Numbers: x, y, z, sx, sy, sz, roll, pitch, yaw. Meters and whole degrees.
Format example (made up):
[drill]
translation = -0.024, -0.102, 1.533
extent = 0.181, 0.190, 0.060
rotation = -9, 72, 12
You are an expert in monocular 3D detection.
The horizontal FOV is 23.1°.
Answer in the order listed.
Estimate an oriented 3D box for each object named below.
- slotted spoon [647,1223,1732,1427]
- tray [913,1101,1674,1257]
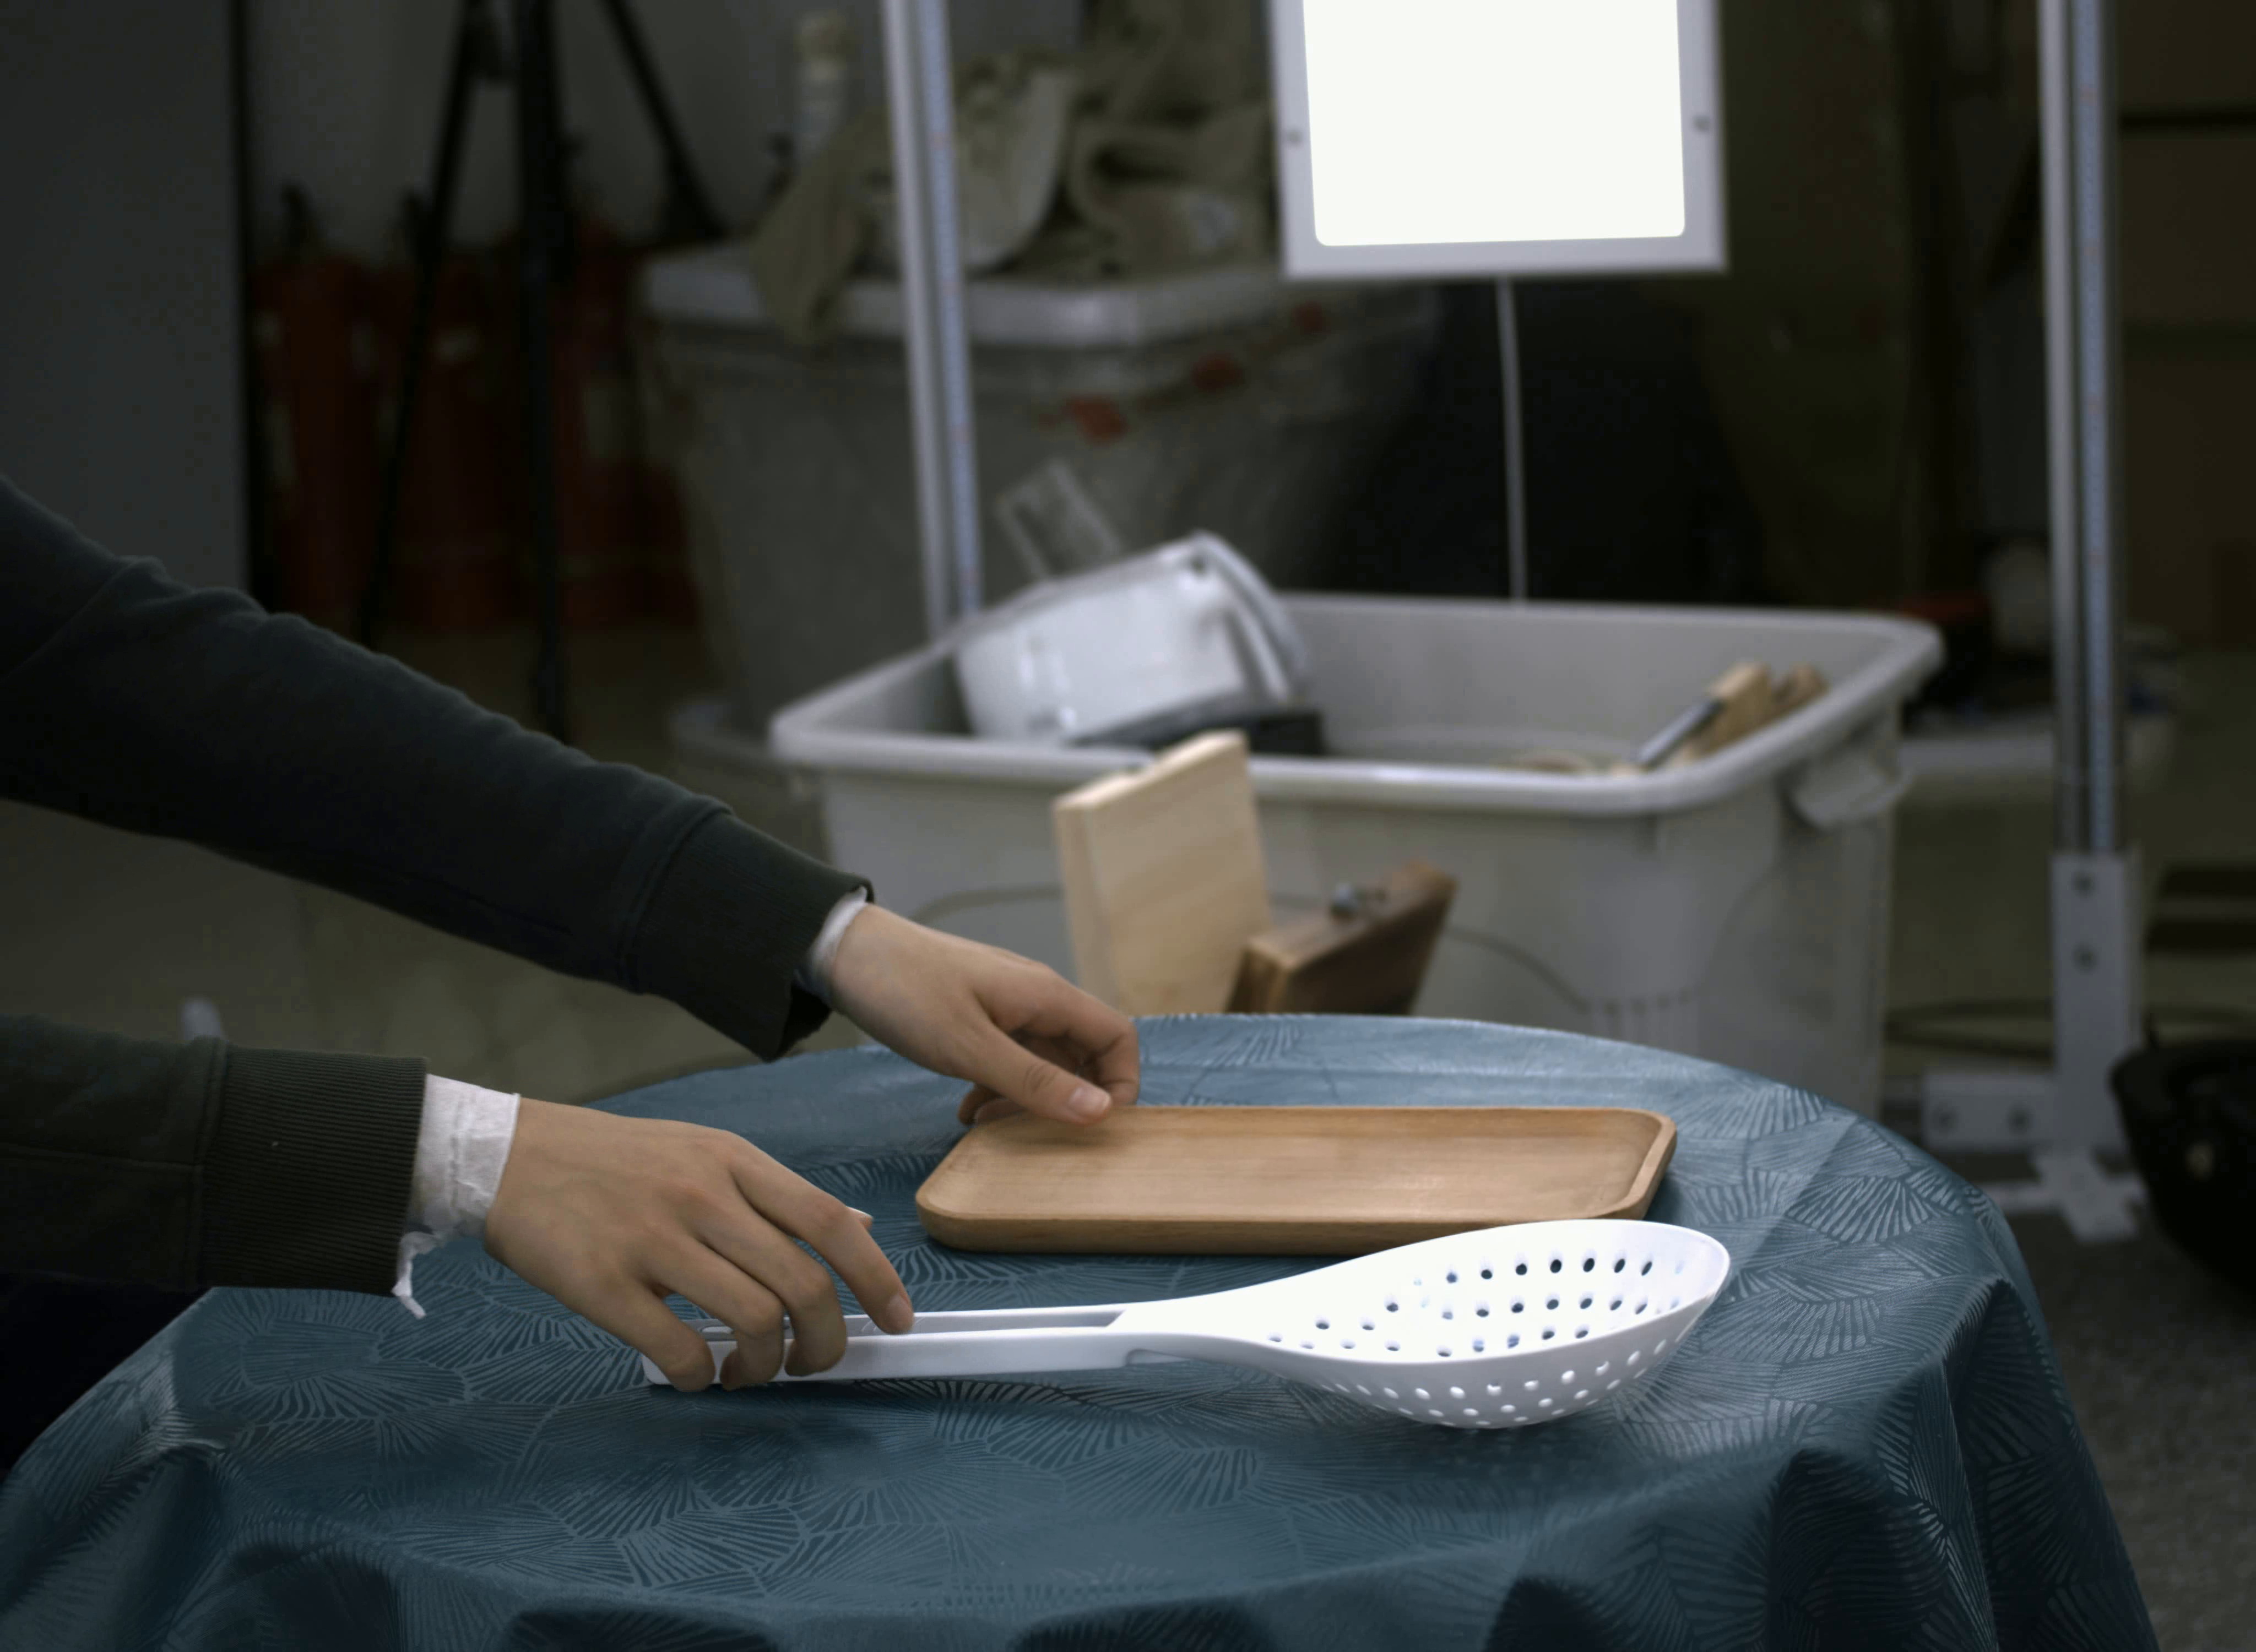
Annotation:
[slotted spoon]
translation = 0.014, 0.154, 1.685
extent = 0.354, 0.046, 0.133
rotation = 0, 12, 22
[tray]
translation = 0.057, 0.120, 1.870
extent = 0.253, 0.023, 0.128
rotation = -2, 12, 17
